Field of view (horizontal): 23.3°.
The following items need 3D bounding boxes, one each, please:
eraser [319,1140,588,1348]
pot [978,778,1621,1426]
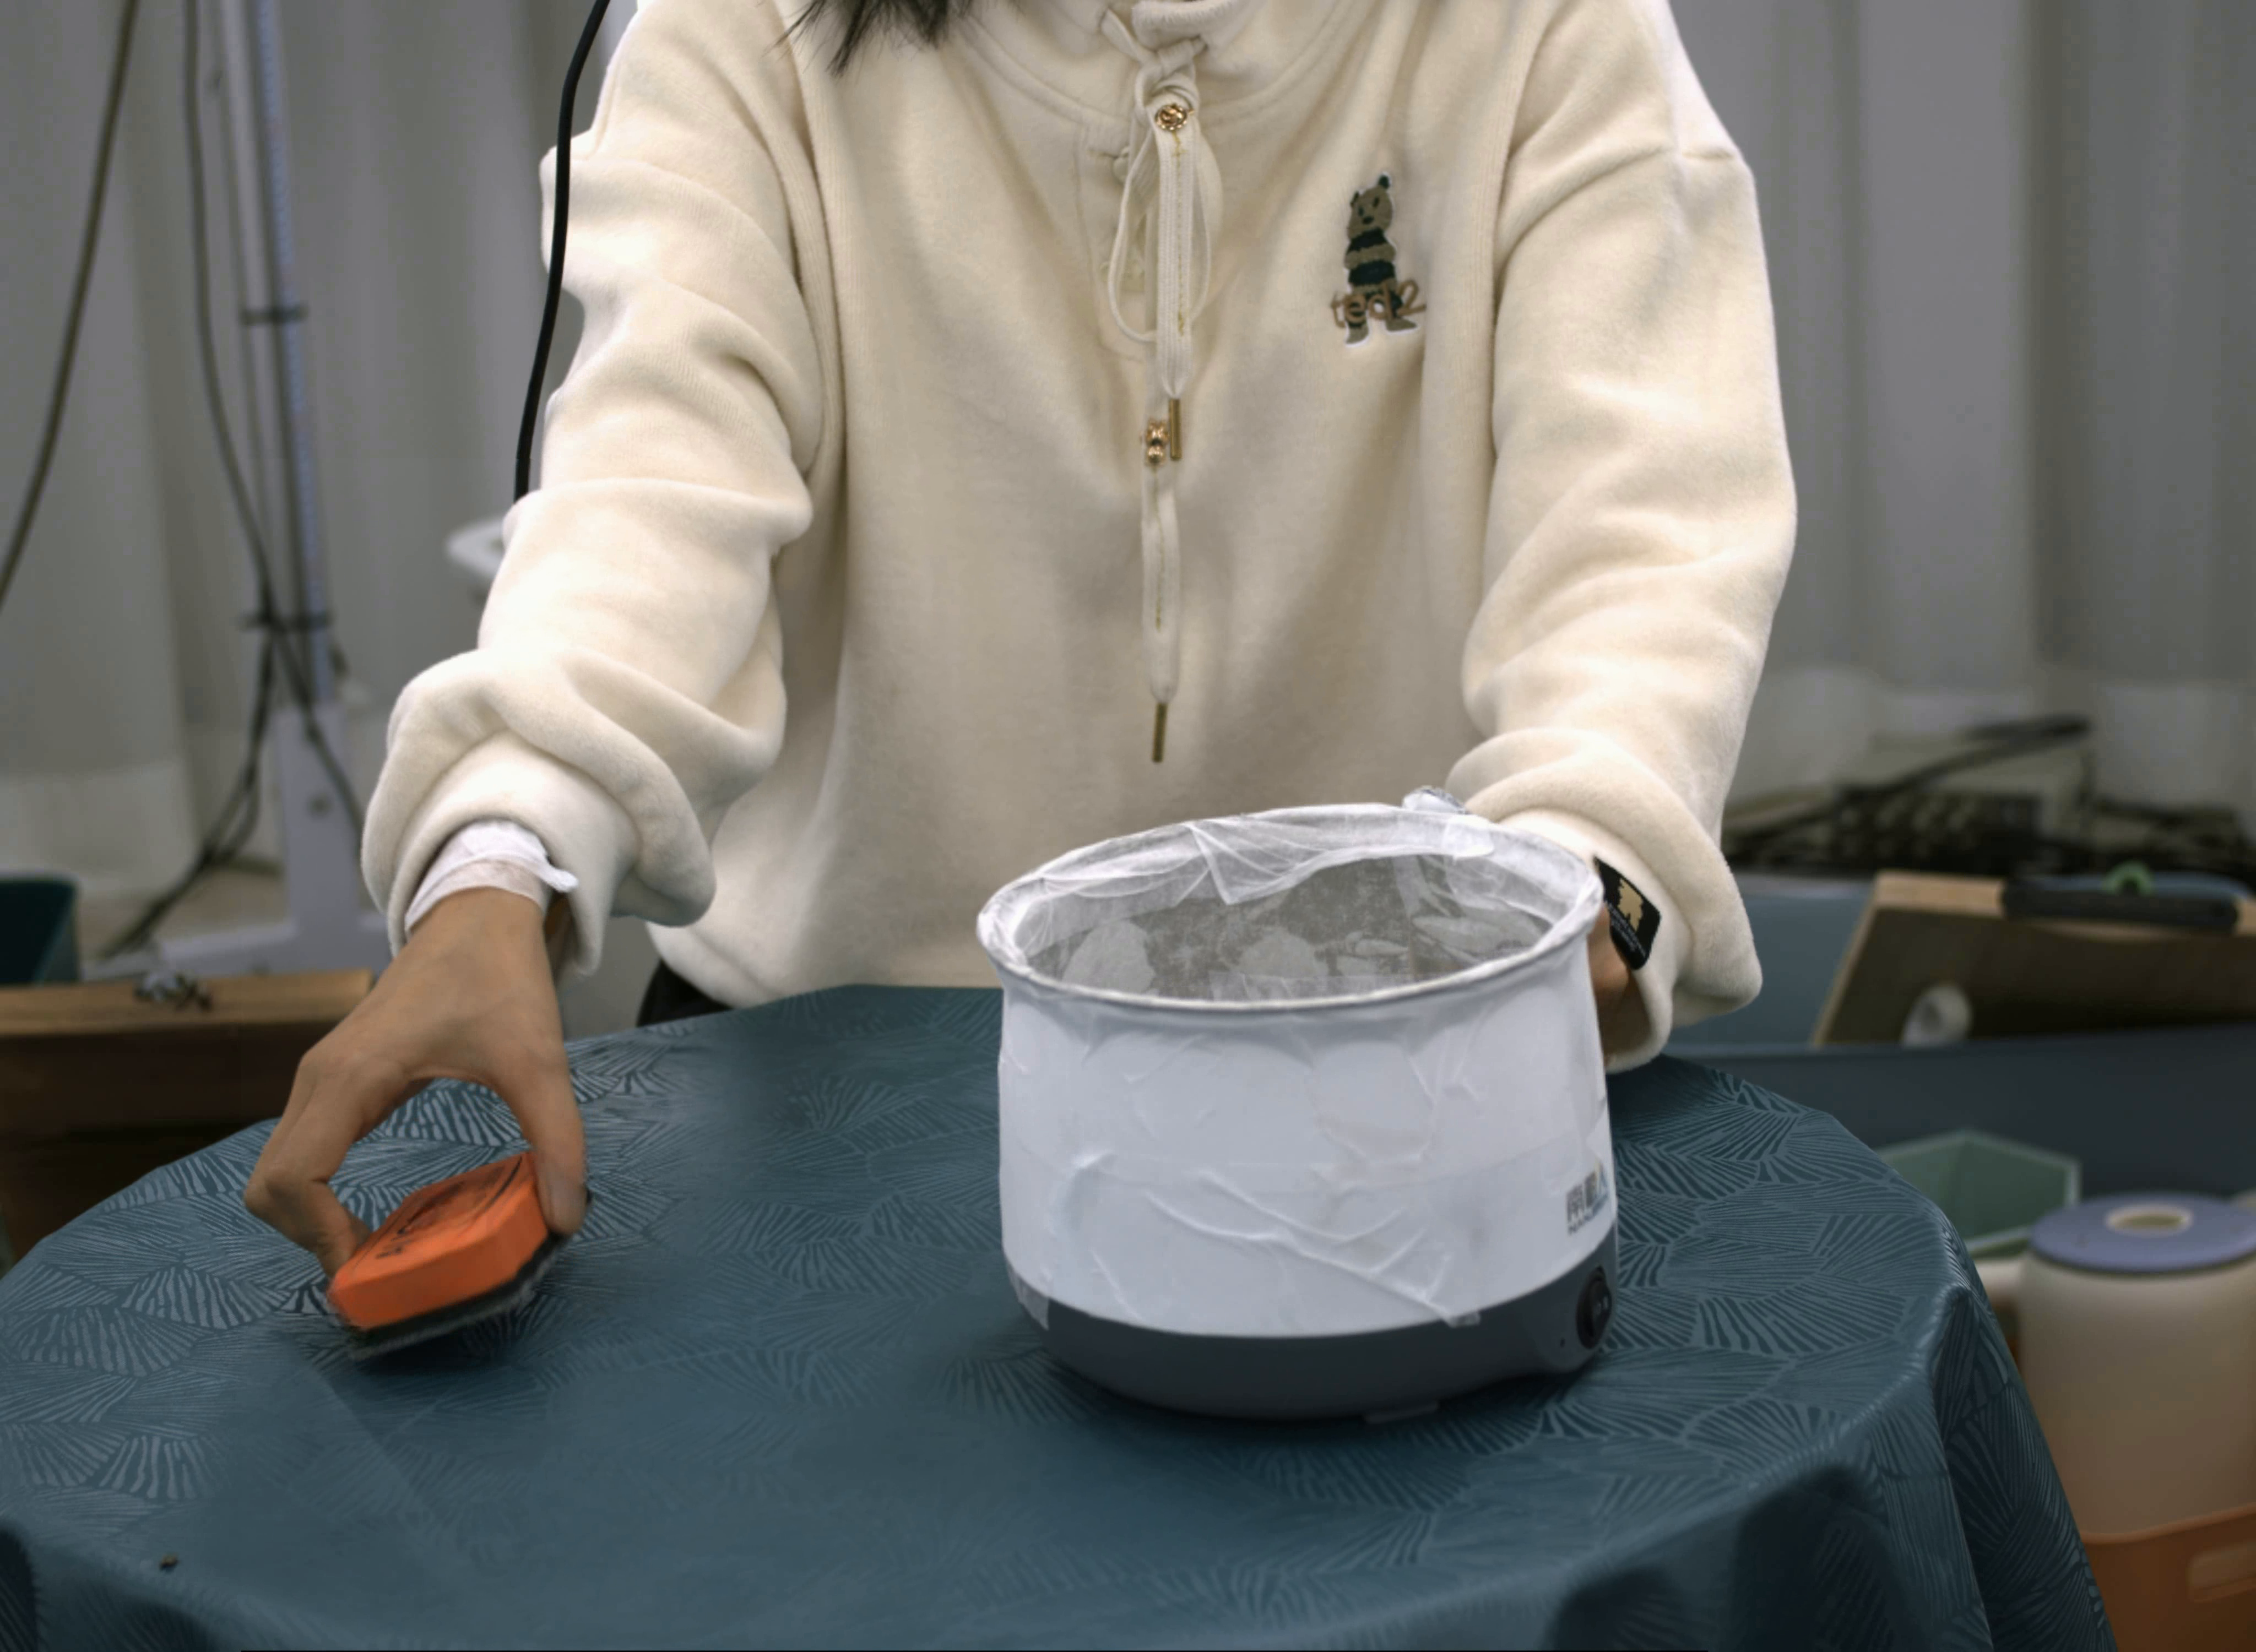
[{"bbox_3d":[-0.200,0.124,1.631,0.059,0.023,0.108,-17,9,11],"label":"eraser"},{"bbox_3d":[0.061,0.073,1.579,0.179,0.136,0.234,4,19,25],"label":"pot"}]
